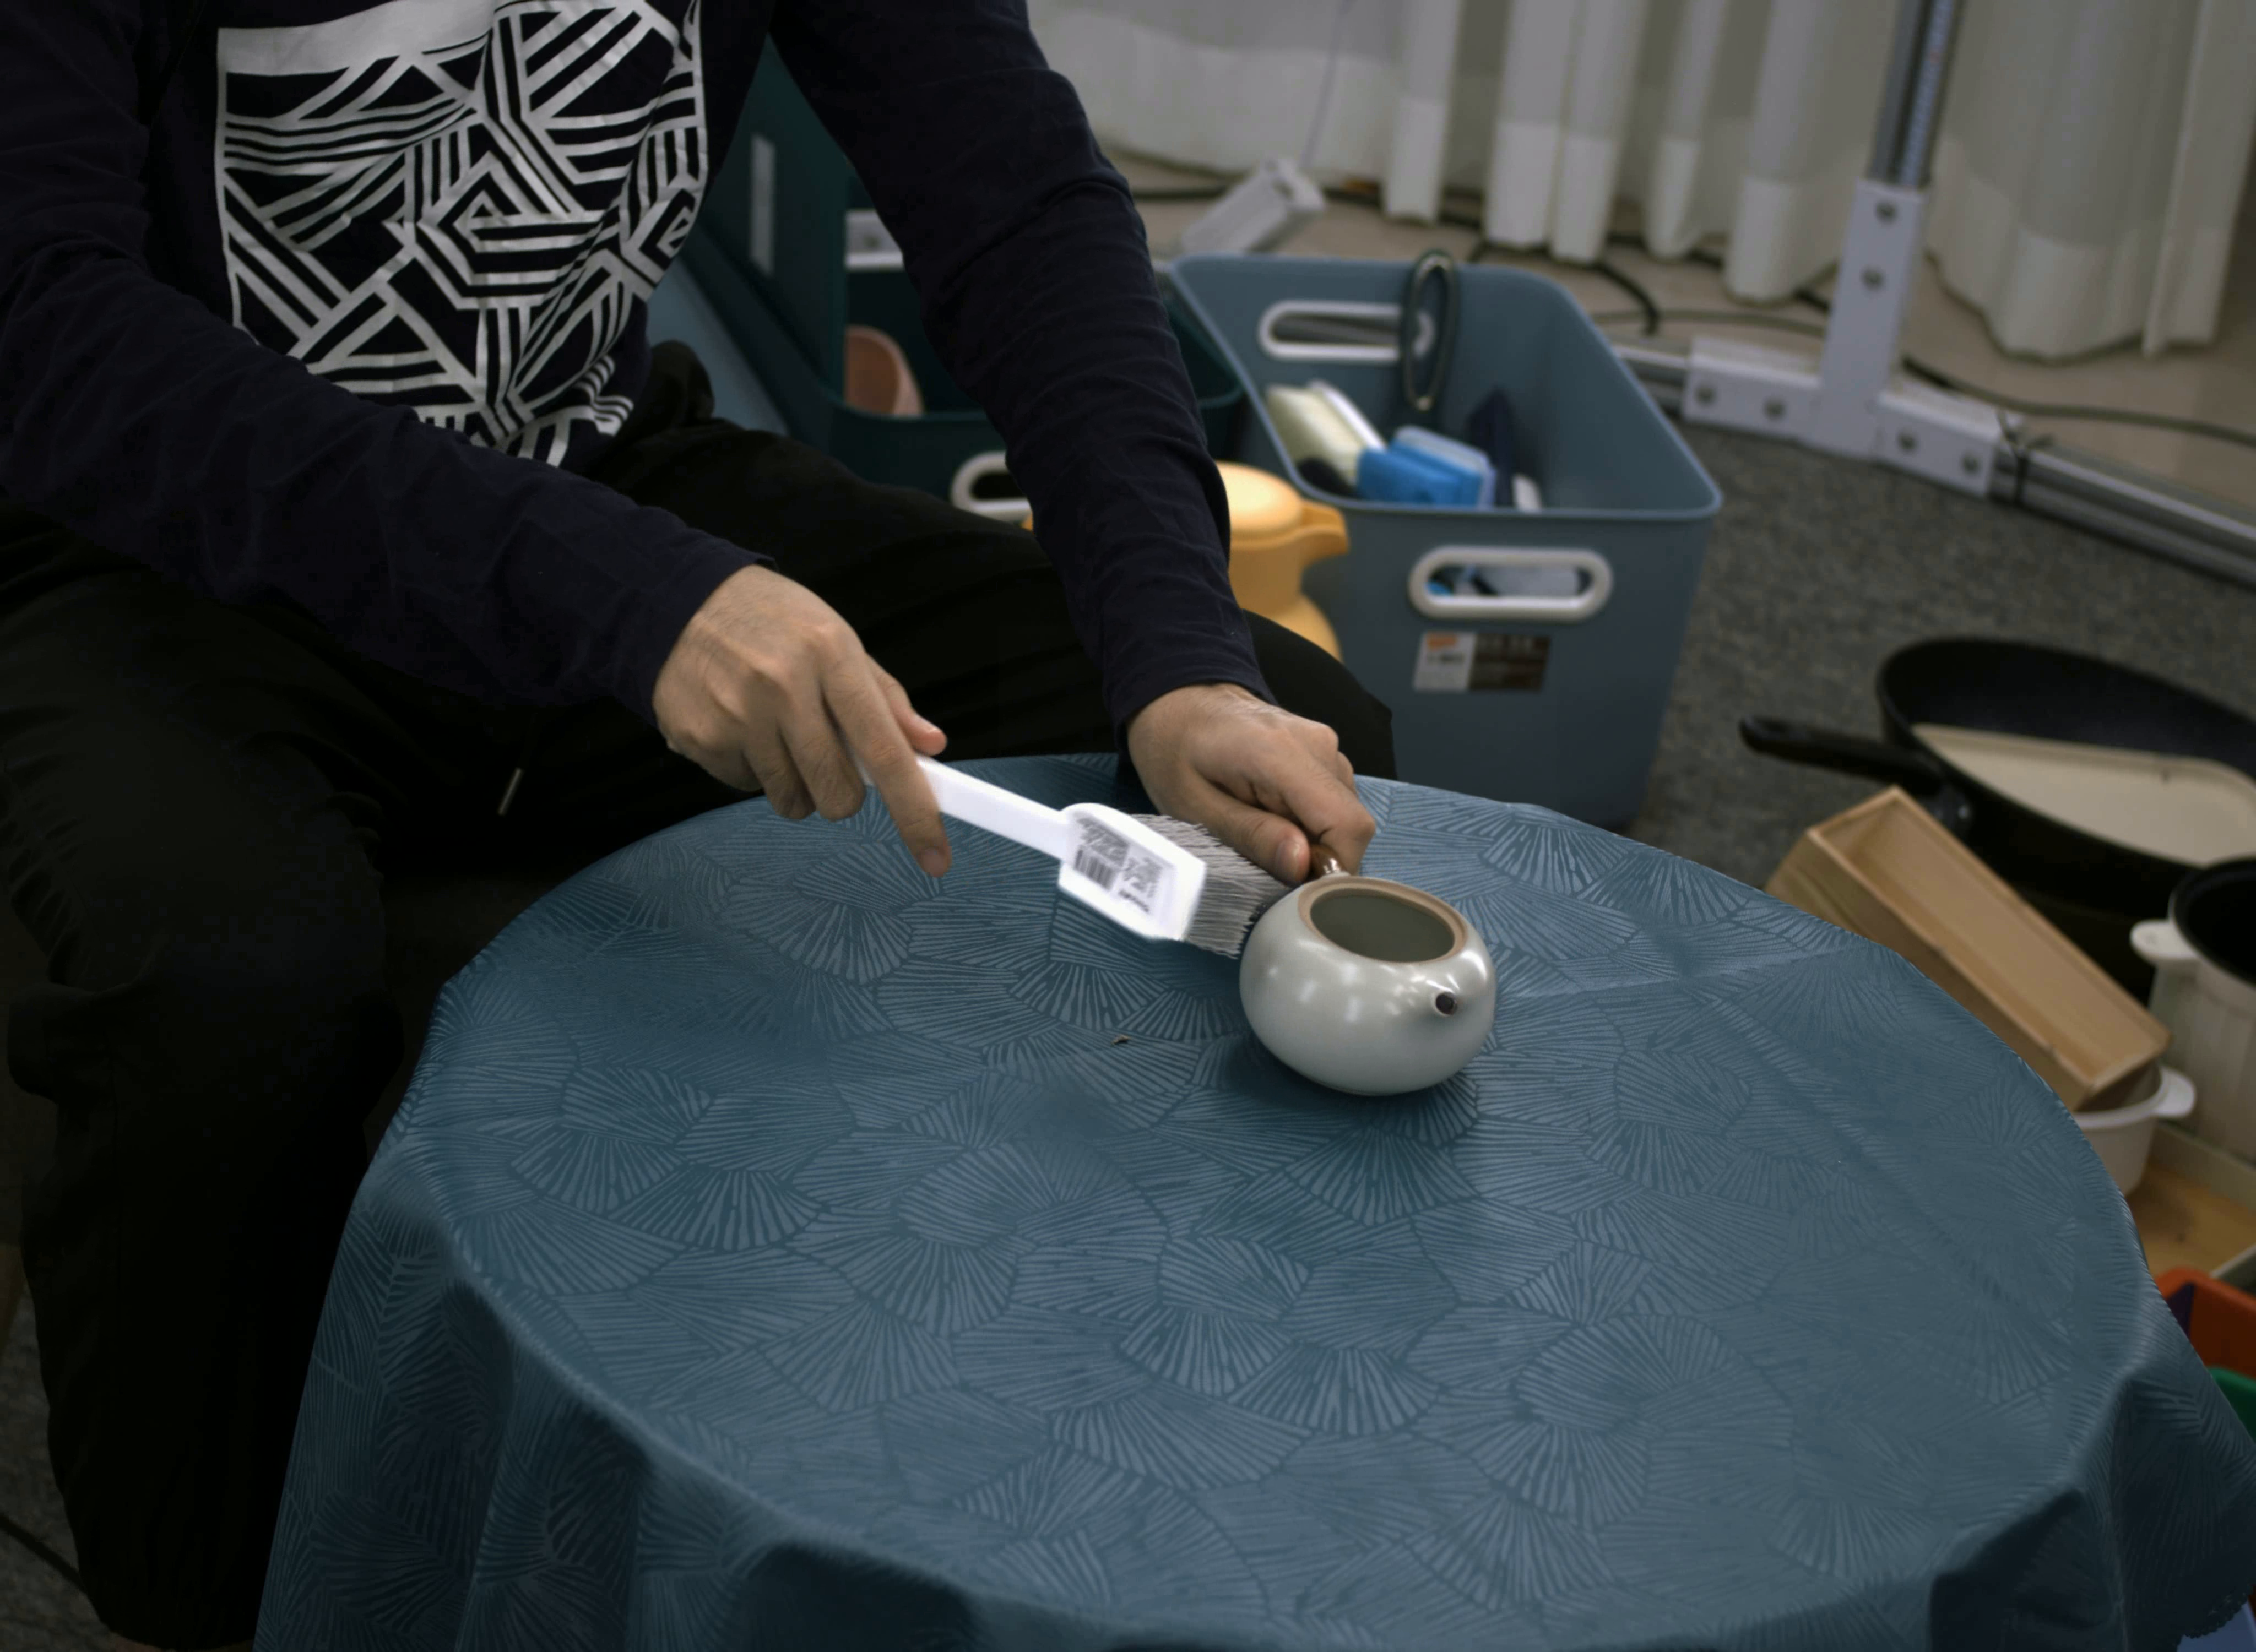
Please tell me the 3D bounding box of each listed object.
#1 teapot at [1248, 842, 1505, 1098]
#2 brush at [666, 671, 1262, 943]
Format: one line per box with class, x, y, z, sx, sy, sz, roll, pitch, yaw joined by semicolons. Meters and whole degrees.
teapot;0.084;0.053;1.897;0.091;0.059;0.129;-5;32;-25
brush;-0.059;-0.010;1.891;0.245;0.034;0.050;21;15;30
